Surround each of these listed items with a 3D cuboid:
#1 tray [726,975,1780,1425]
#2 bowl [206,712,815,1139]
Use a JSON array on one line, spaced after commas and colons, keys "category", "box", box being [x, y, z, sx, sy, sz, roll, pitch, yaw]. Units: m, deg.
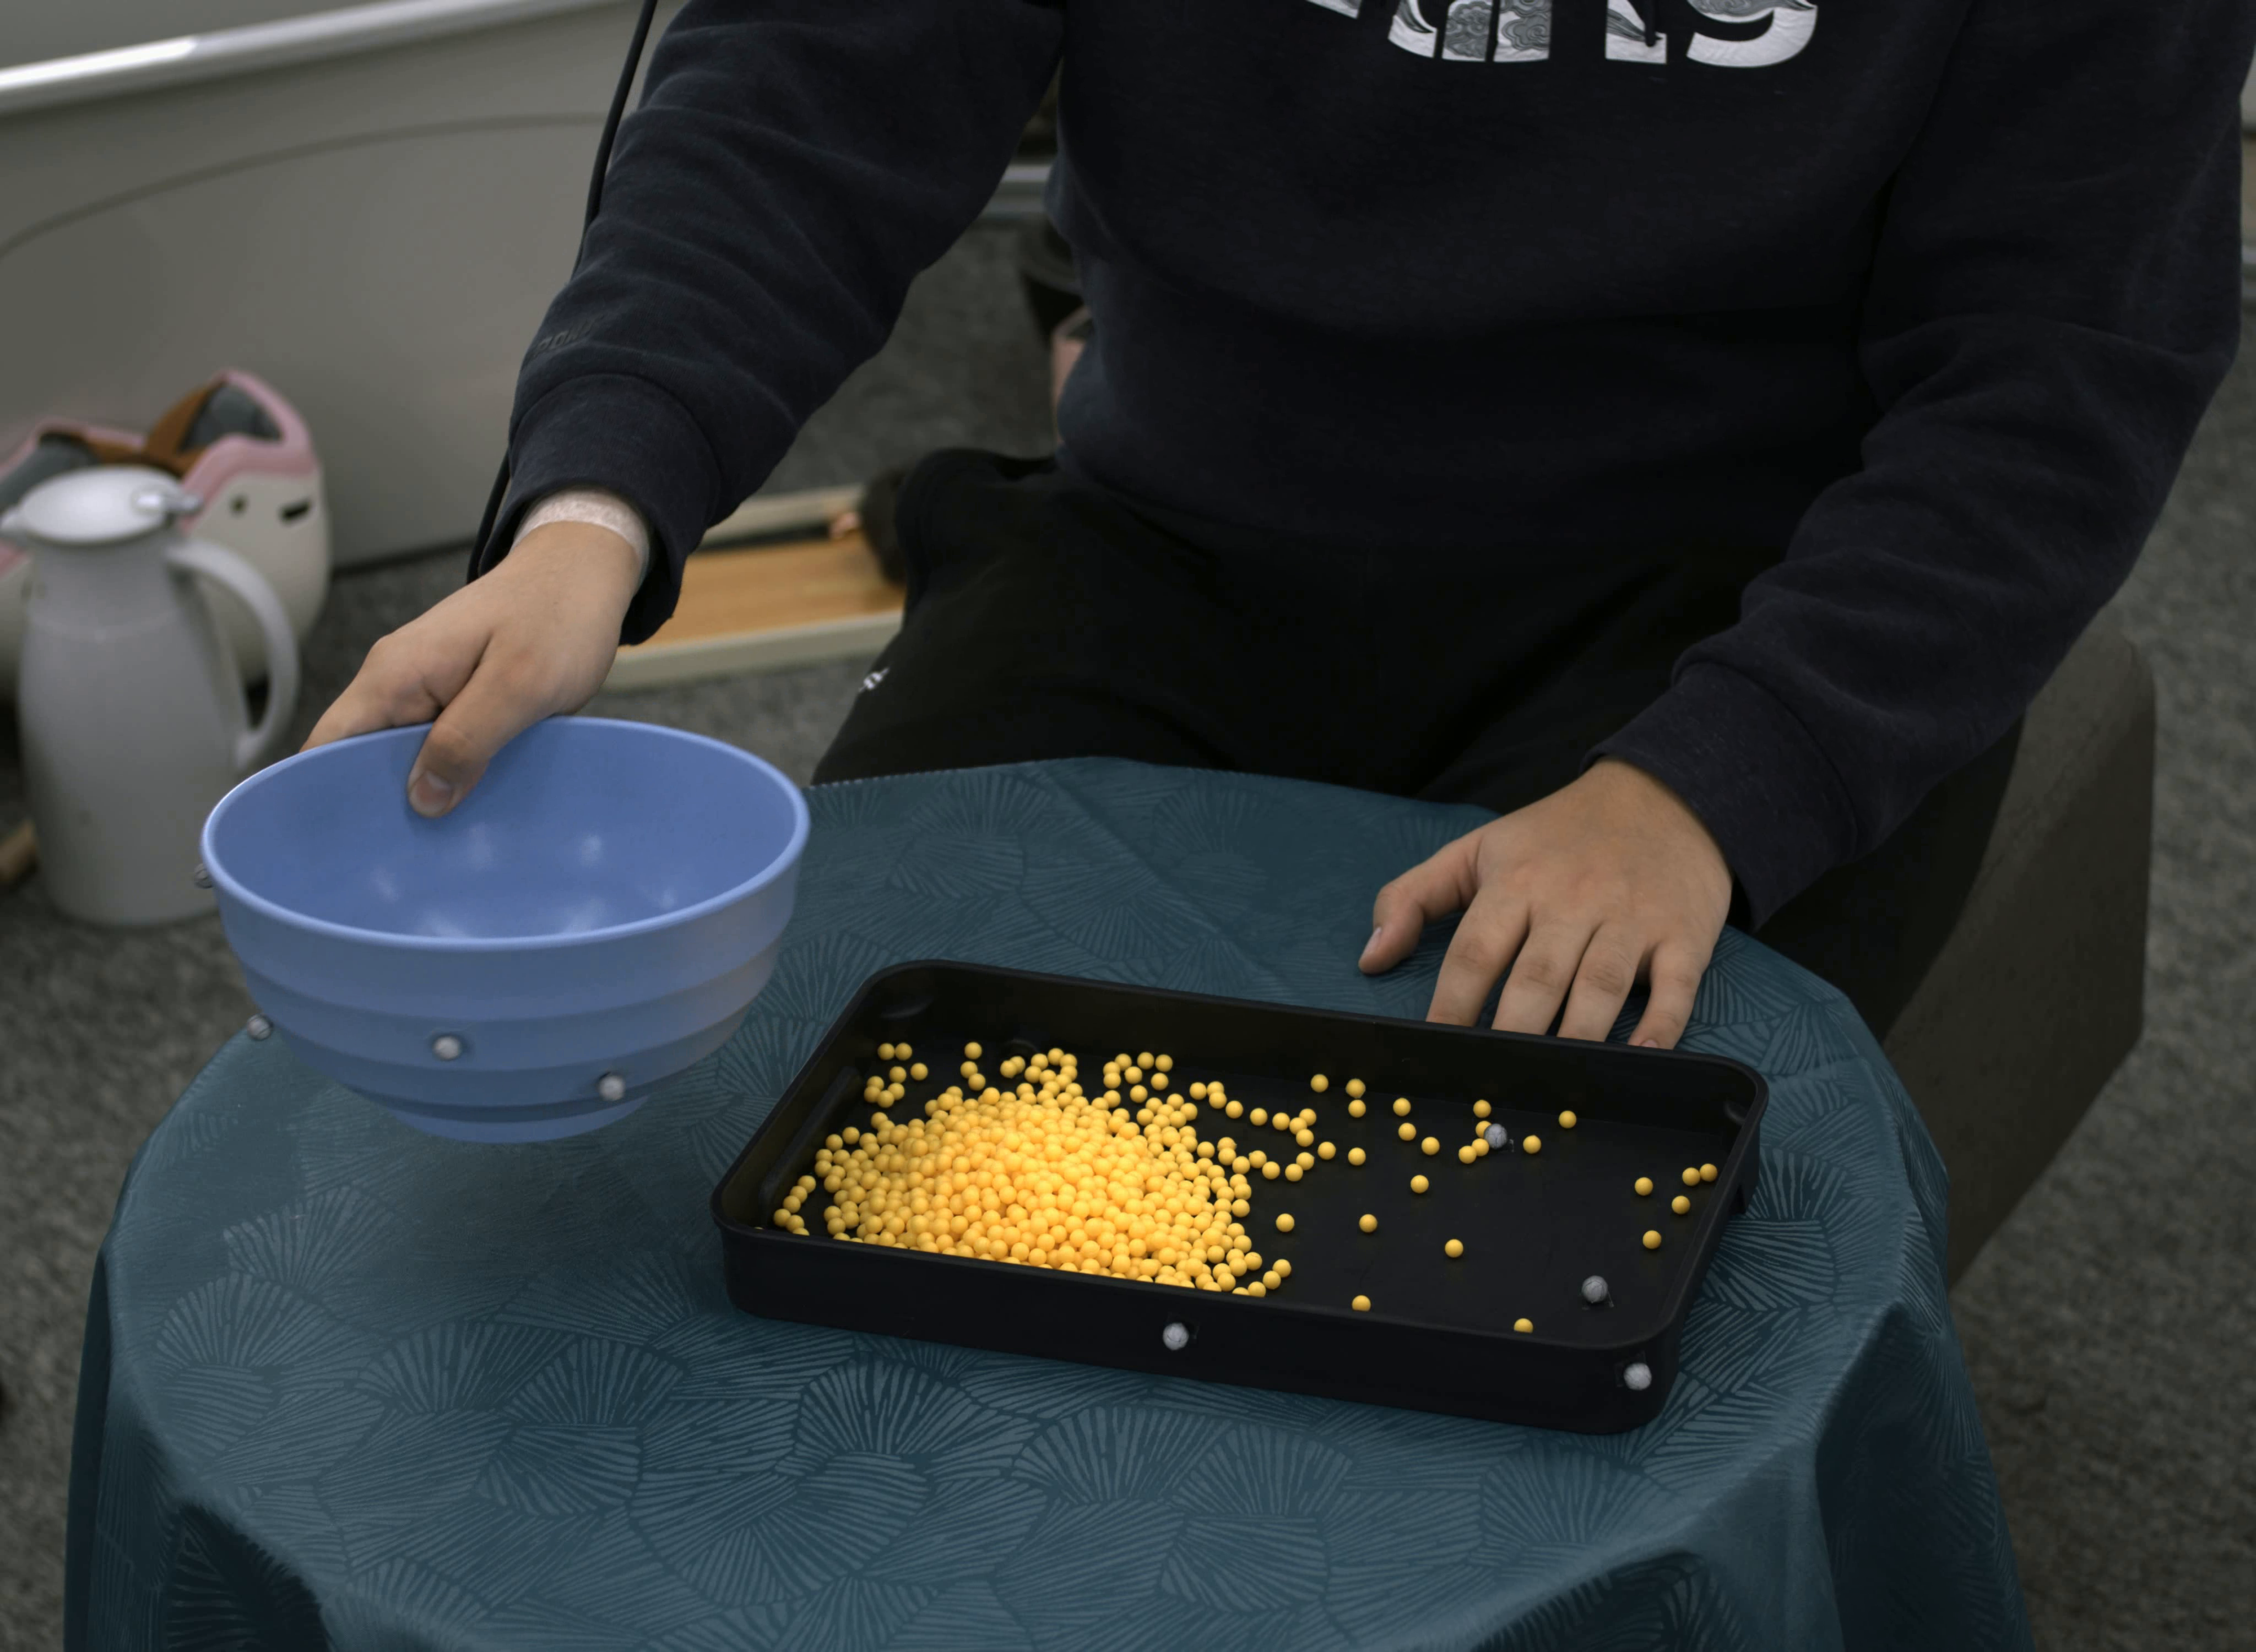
[{"category": "tray", "box": [0.043, 0.119, 1.831, 0.316, 0.036, 0.187, 5, 28, 16]}, {"category": "bowl", "box": [-0.198, 0.040, 1.830, 0.195, 0.094, 0.199, -1, 21, 1]}]
